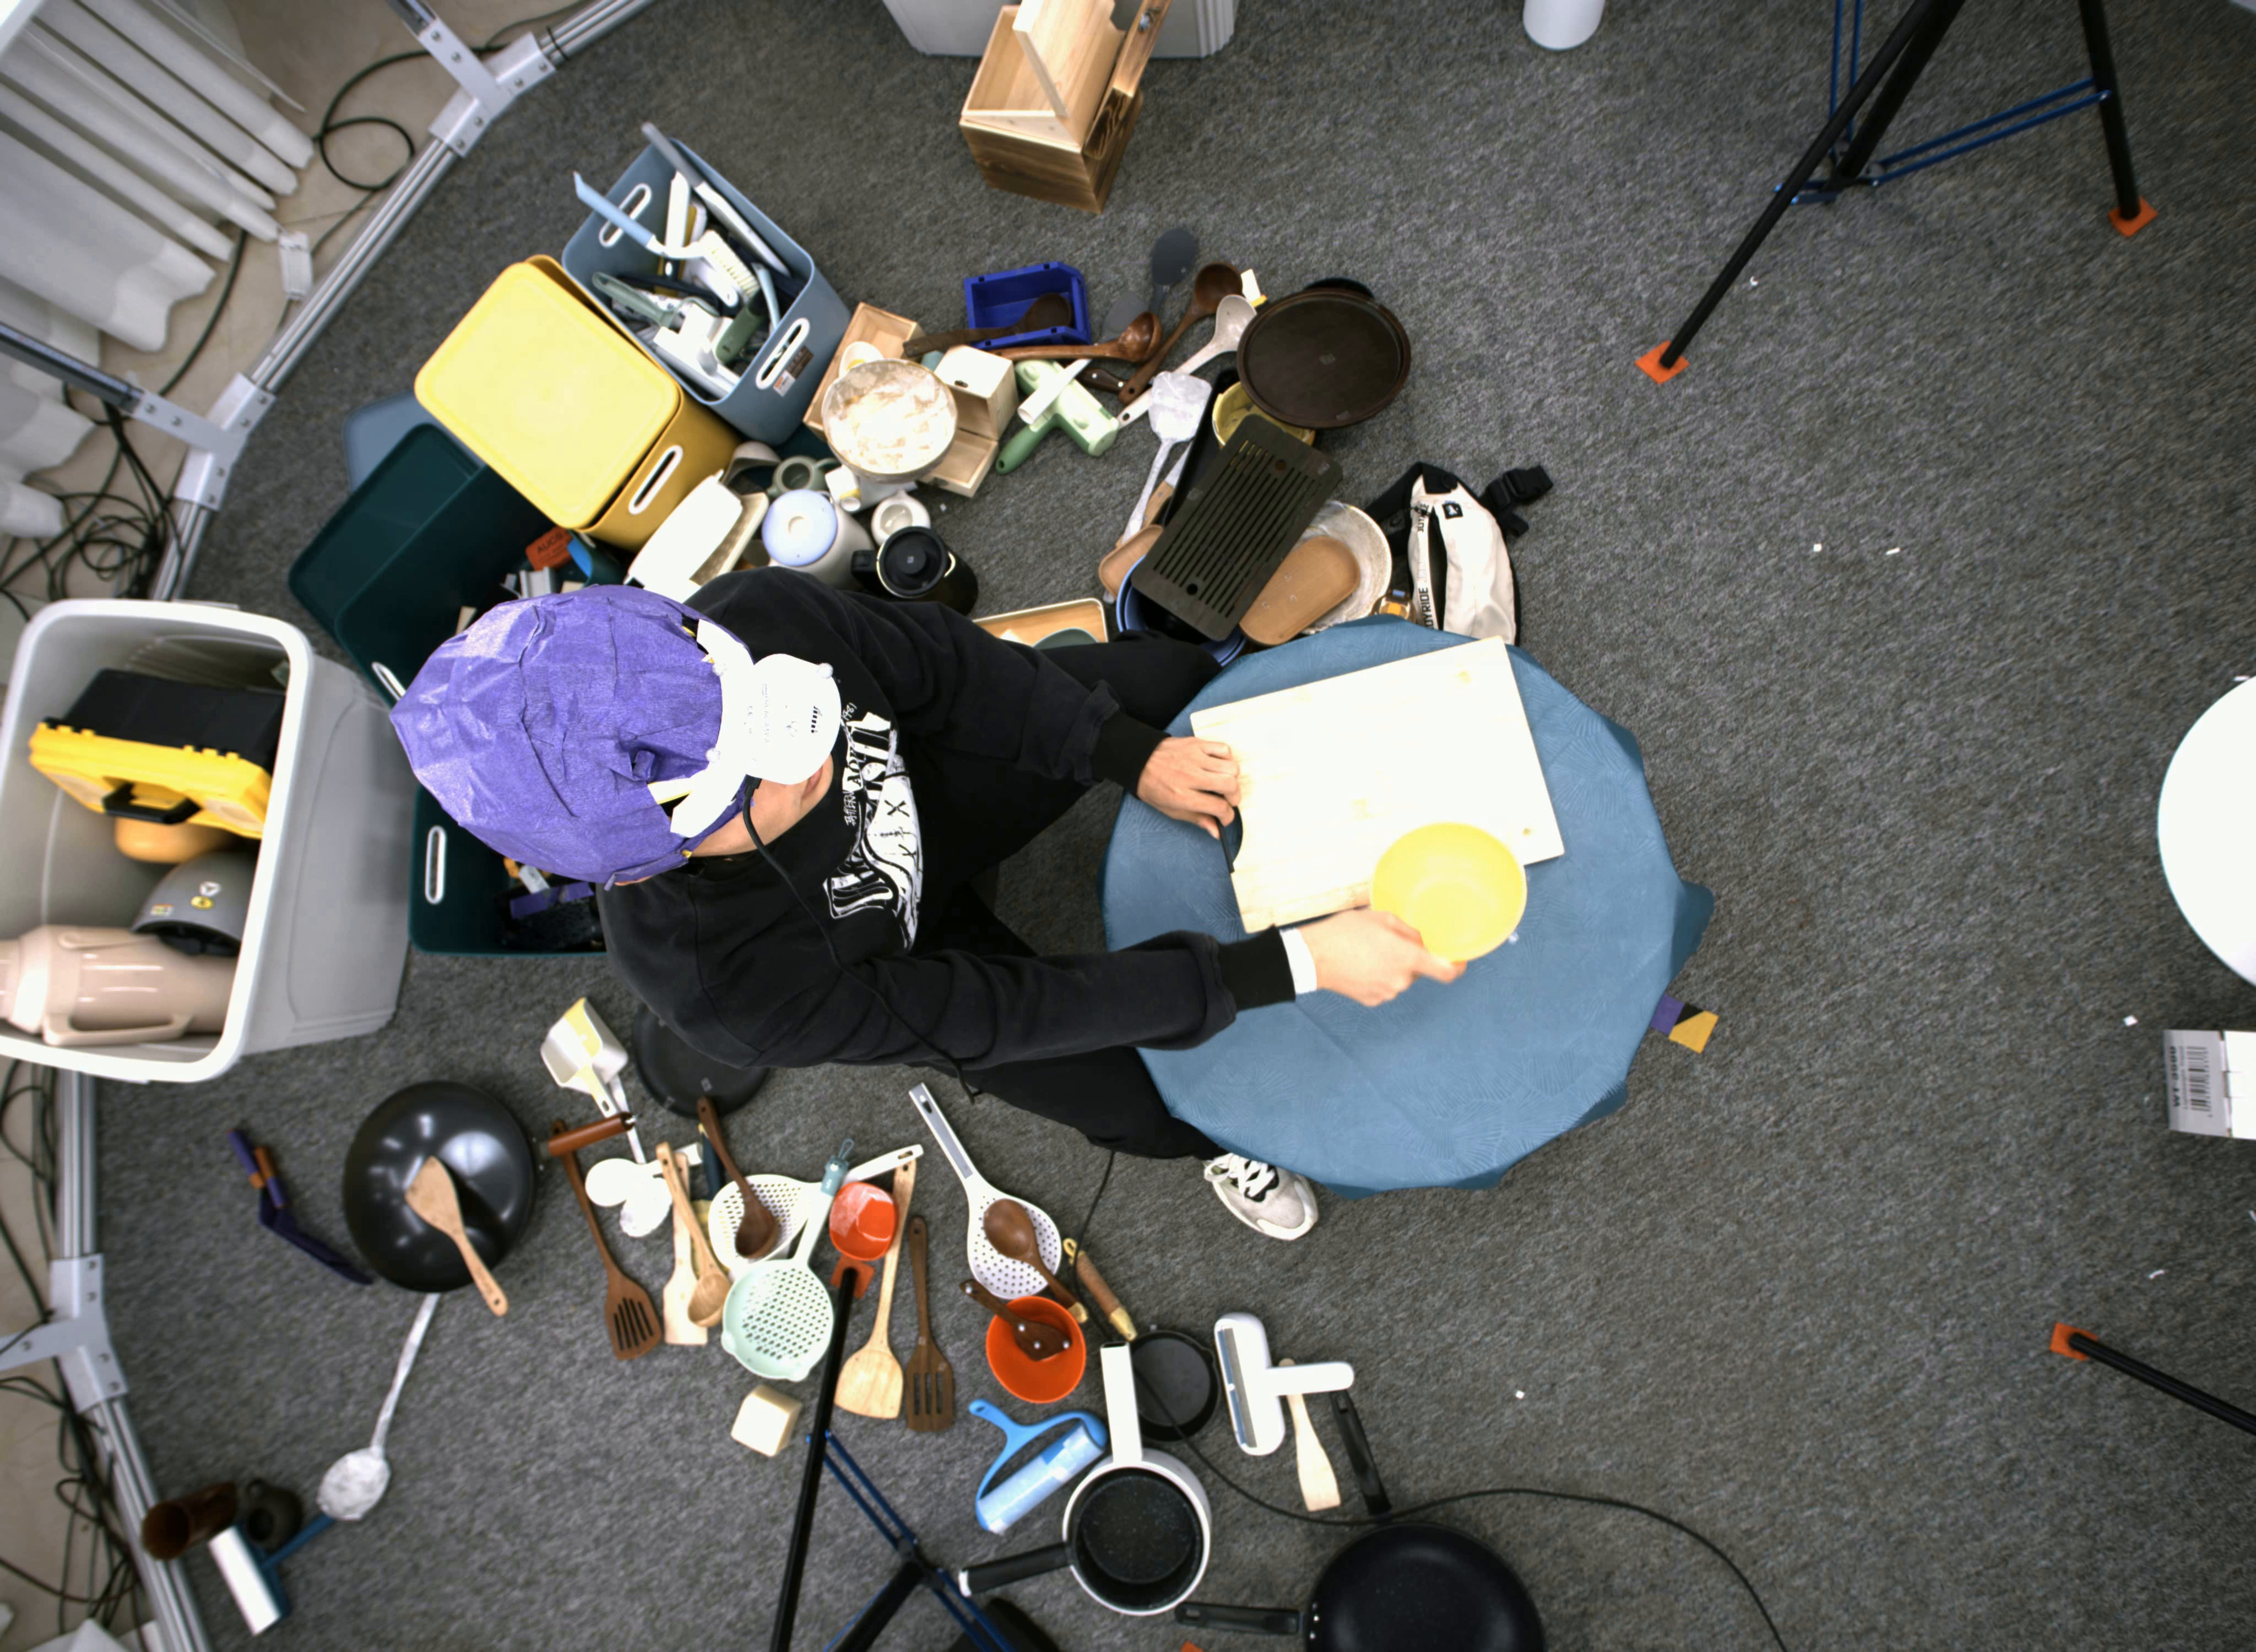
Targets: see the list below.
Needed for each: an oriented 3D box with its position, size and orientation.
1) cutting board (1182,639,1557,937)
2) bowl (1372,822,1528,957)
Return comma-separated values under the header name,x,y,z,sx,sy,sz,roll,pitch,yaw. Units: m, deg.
name,x,y,z,sx,sy,sz,roll,pitch,yaw
cutting board,0.255,-0.042,1.448,0.349,0.023,0.249,-15,84,3
bowl,0.310,0.070,1.319,0.146,0.061,0.142,-10,56,14
